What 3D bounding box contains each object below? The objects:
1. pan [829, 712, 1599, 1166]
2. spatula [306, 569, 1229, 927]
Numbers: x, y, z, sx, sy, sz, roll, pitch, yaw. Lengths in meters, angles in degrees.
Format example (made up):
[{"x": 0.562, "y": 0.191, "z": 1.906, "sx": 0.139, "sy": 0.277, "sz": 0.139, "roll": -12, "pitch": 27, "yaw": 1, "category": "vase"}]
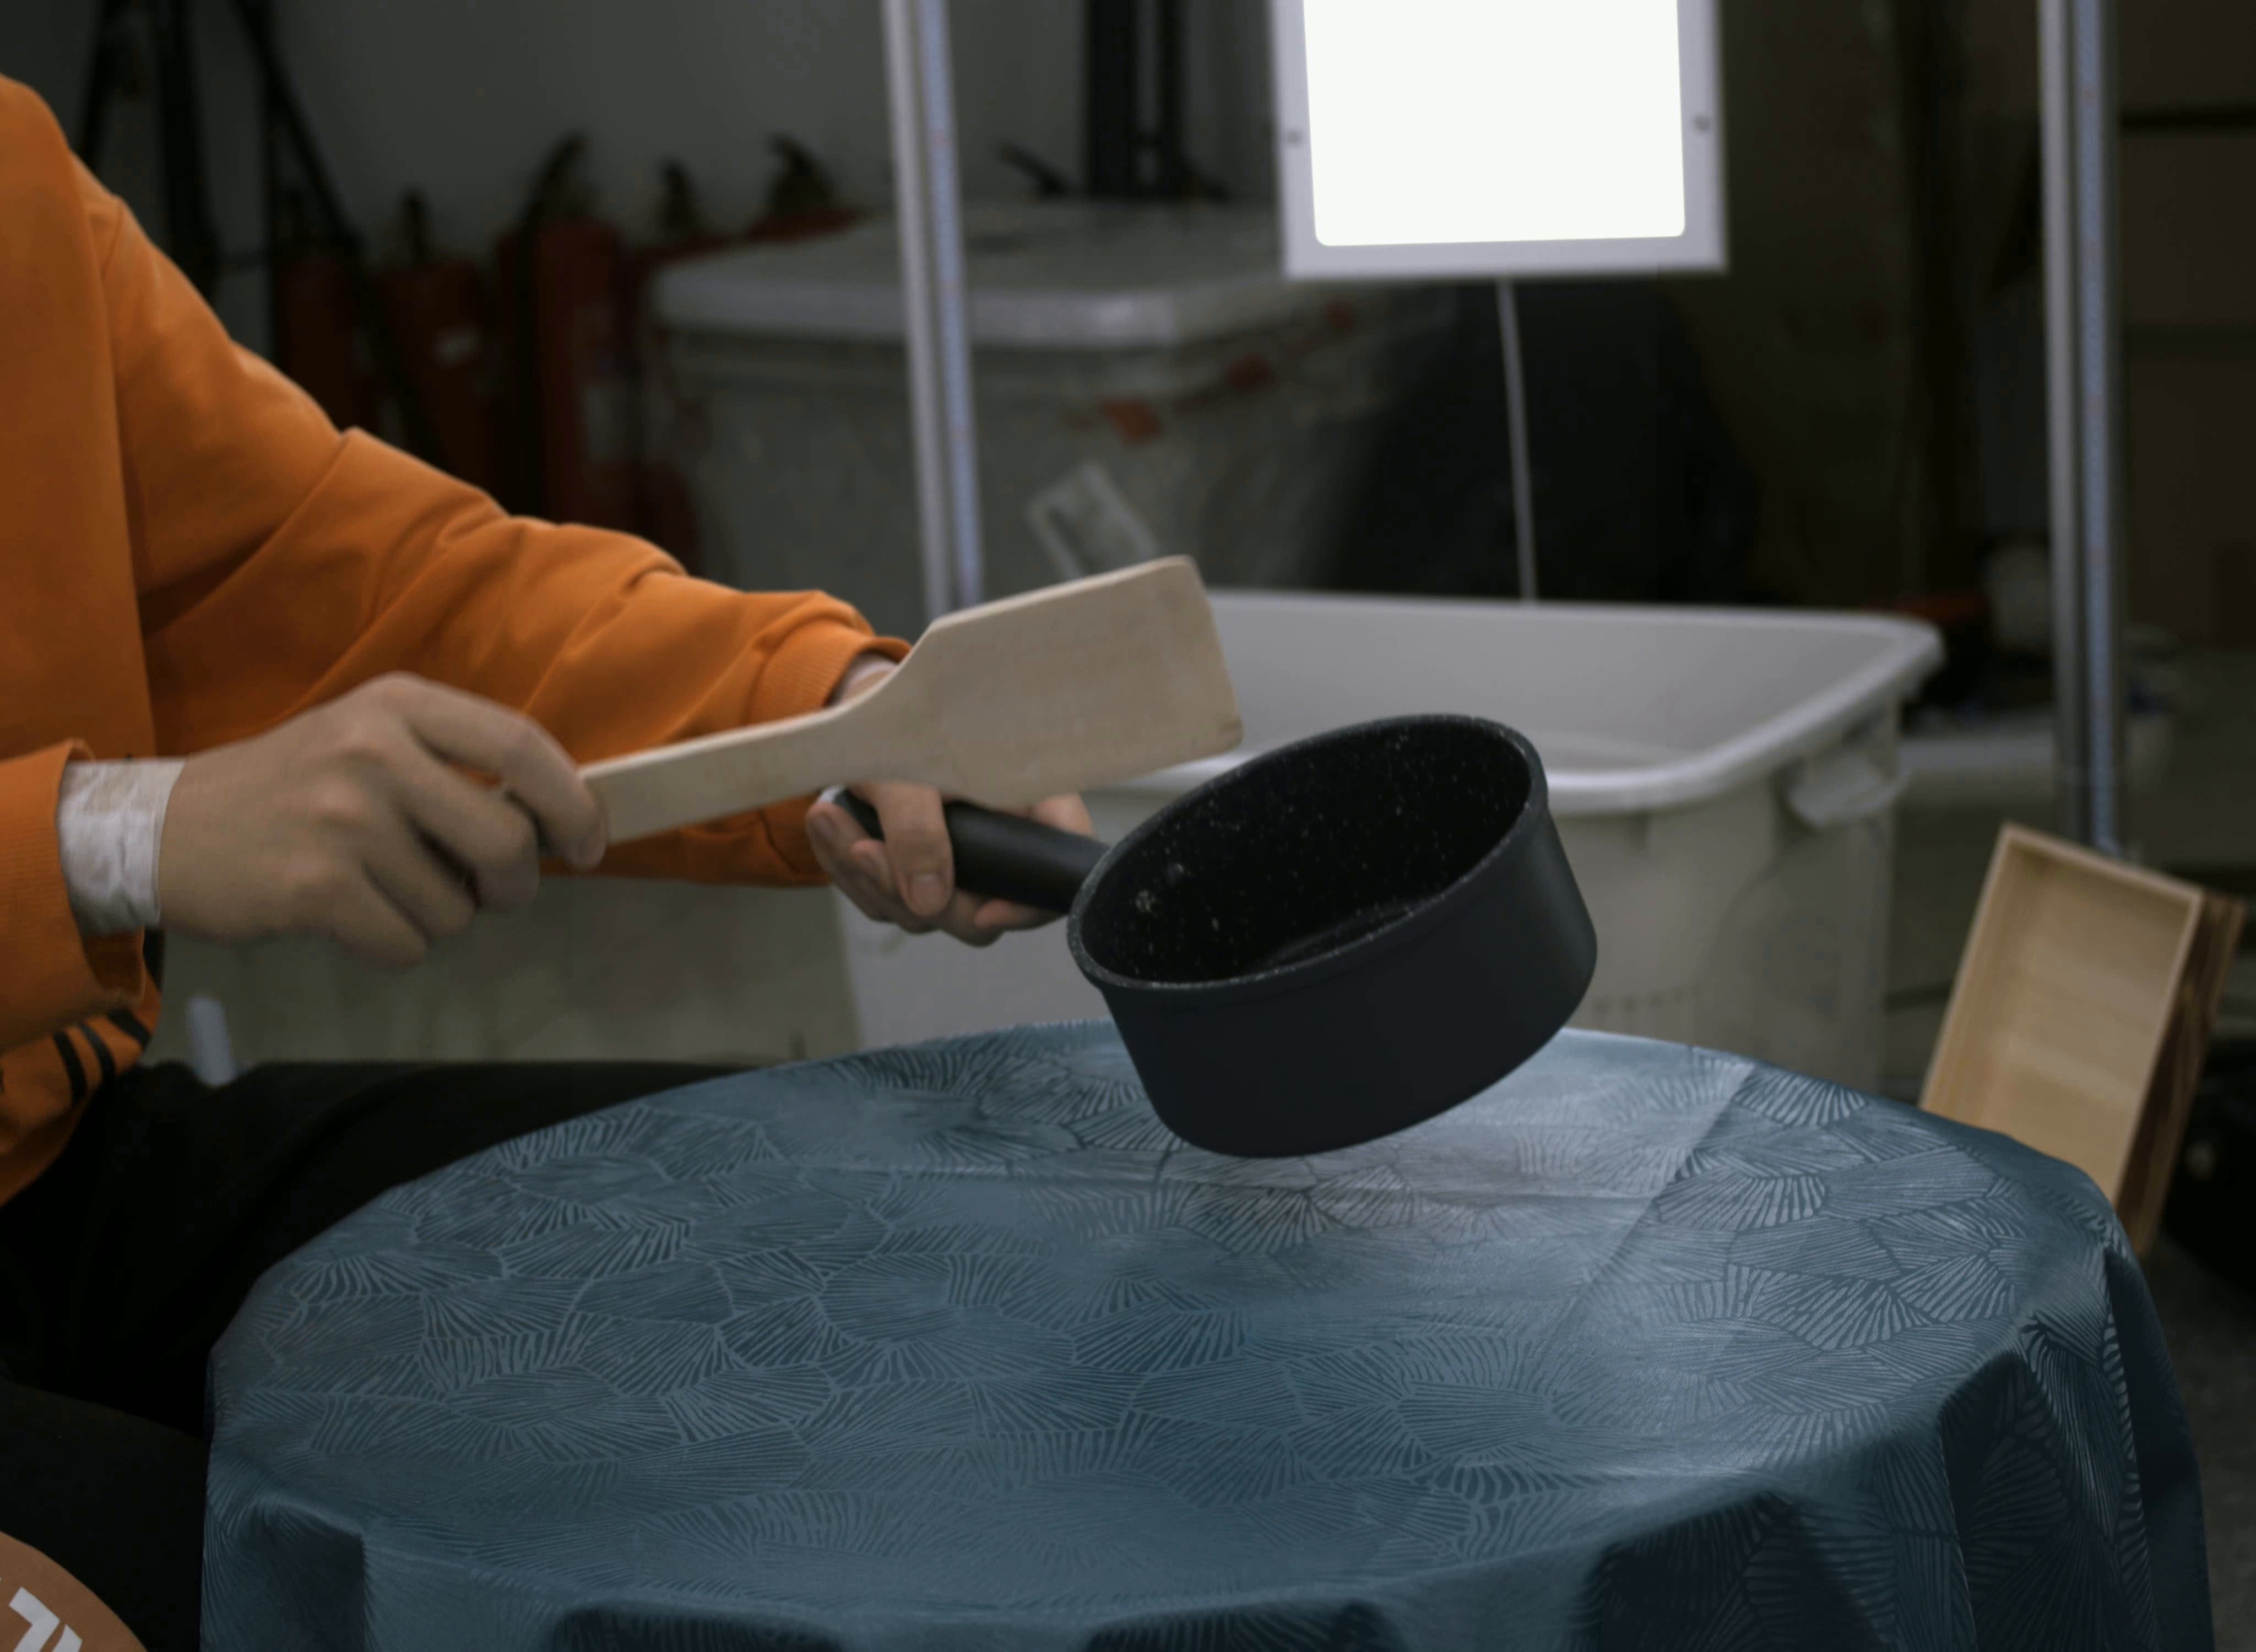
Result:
[{"x": 0.018, "y": 0.031, "z": 1.922, "sx": 0.168, "sy": 0.086, "sz": 0.336, "roll": -38, "pitch": 29, "yaw": -31, "category": "pan"}, {"x": -0.116, "y": -0.015, "z": 1.702, "sx": 0.295, "sy": 0.072, "sz": 0.010, "roll": -14, "pitch": 33, "yaw": 11, "category": "spatula"}]
